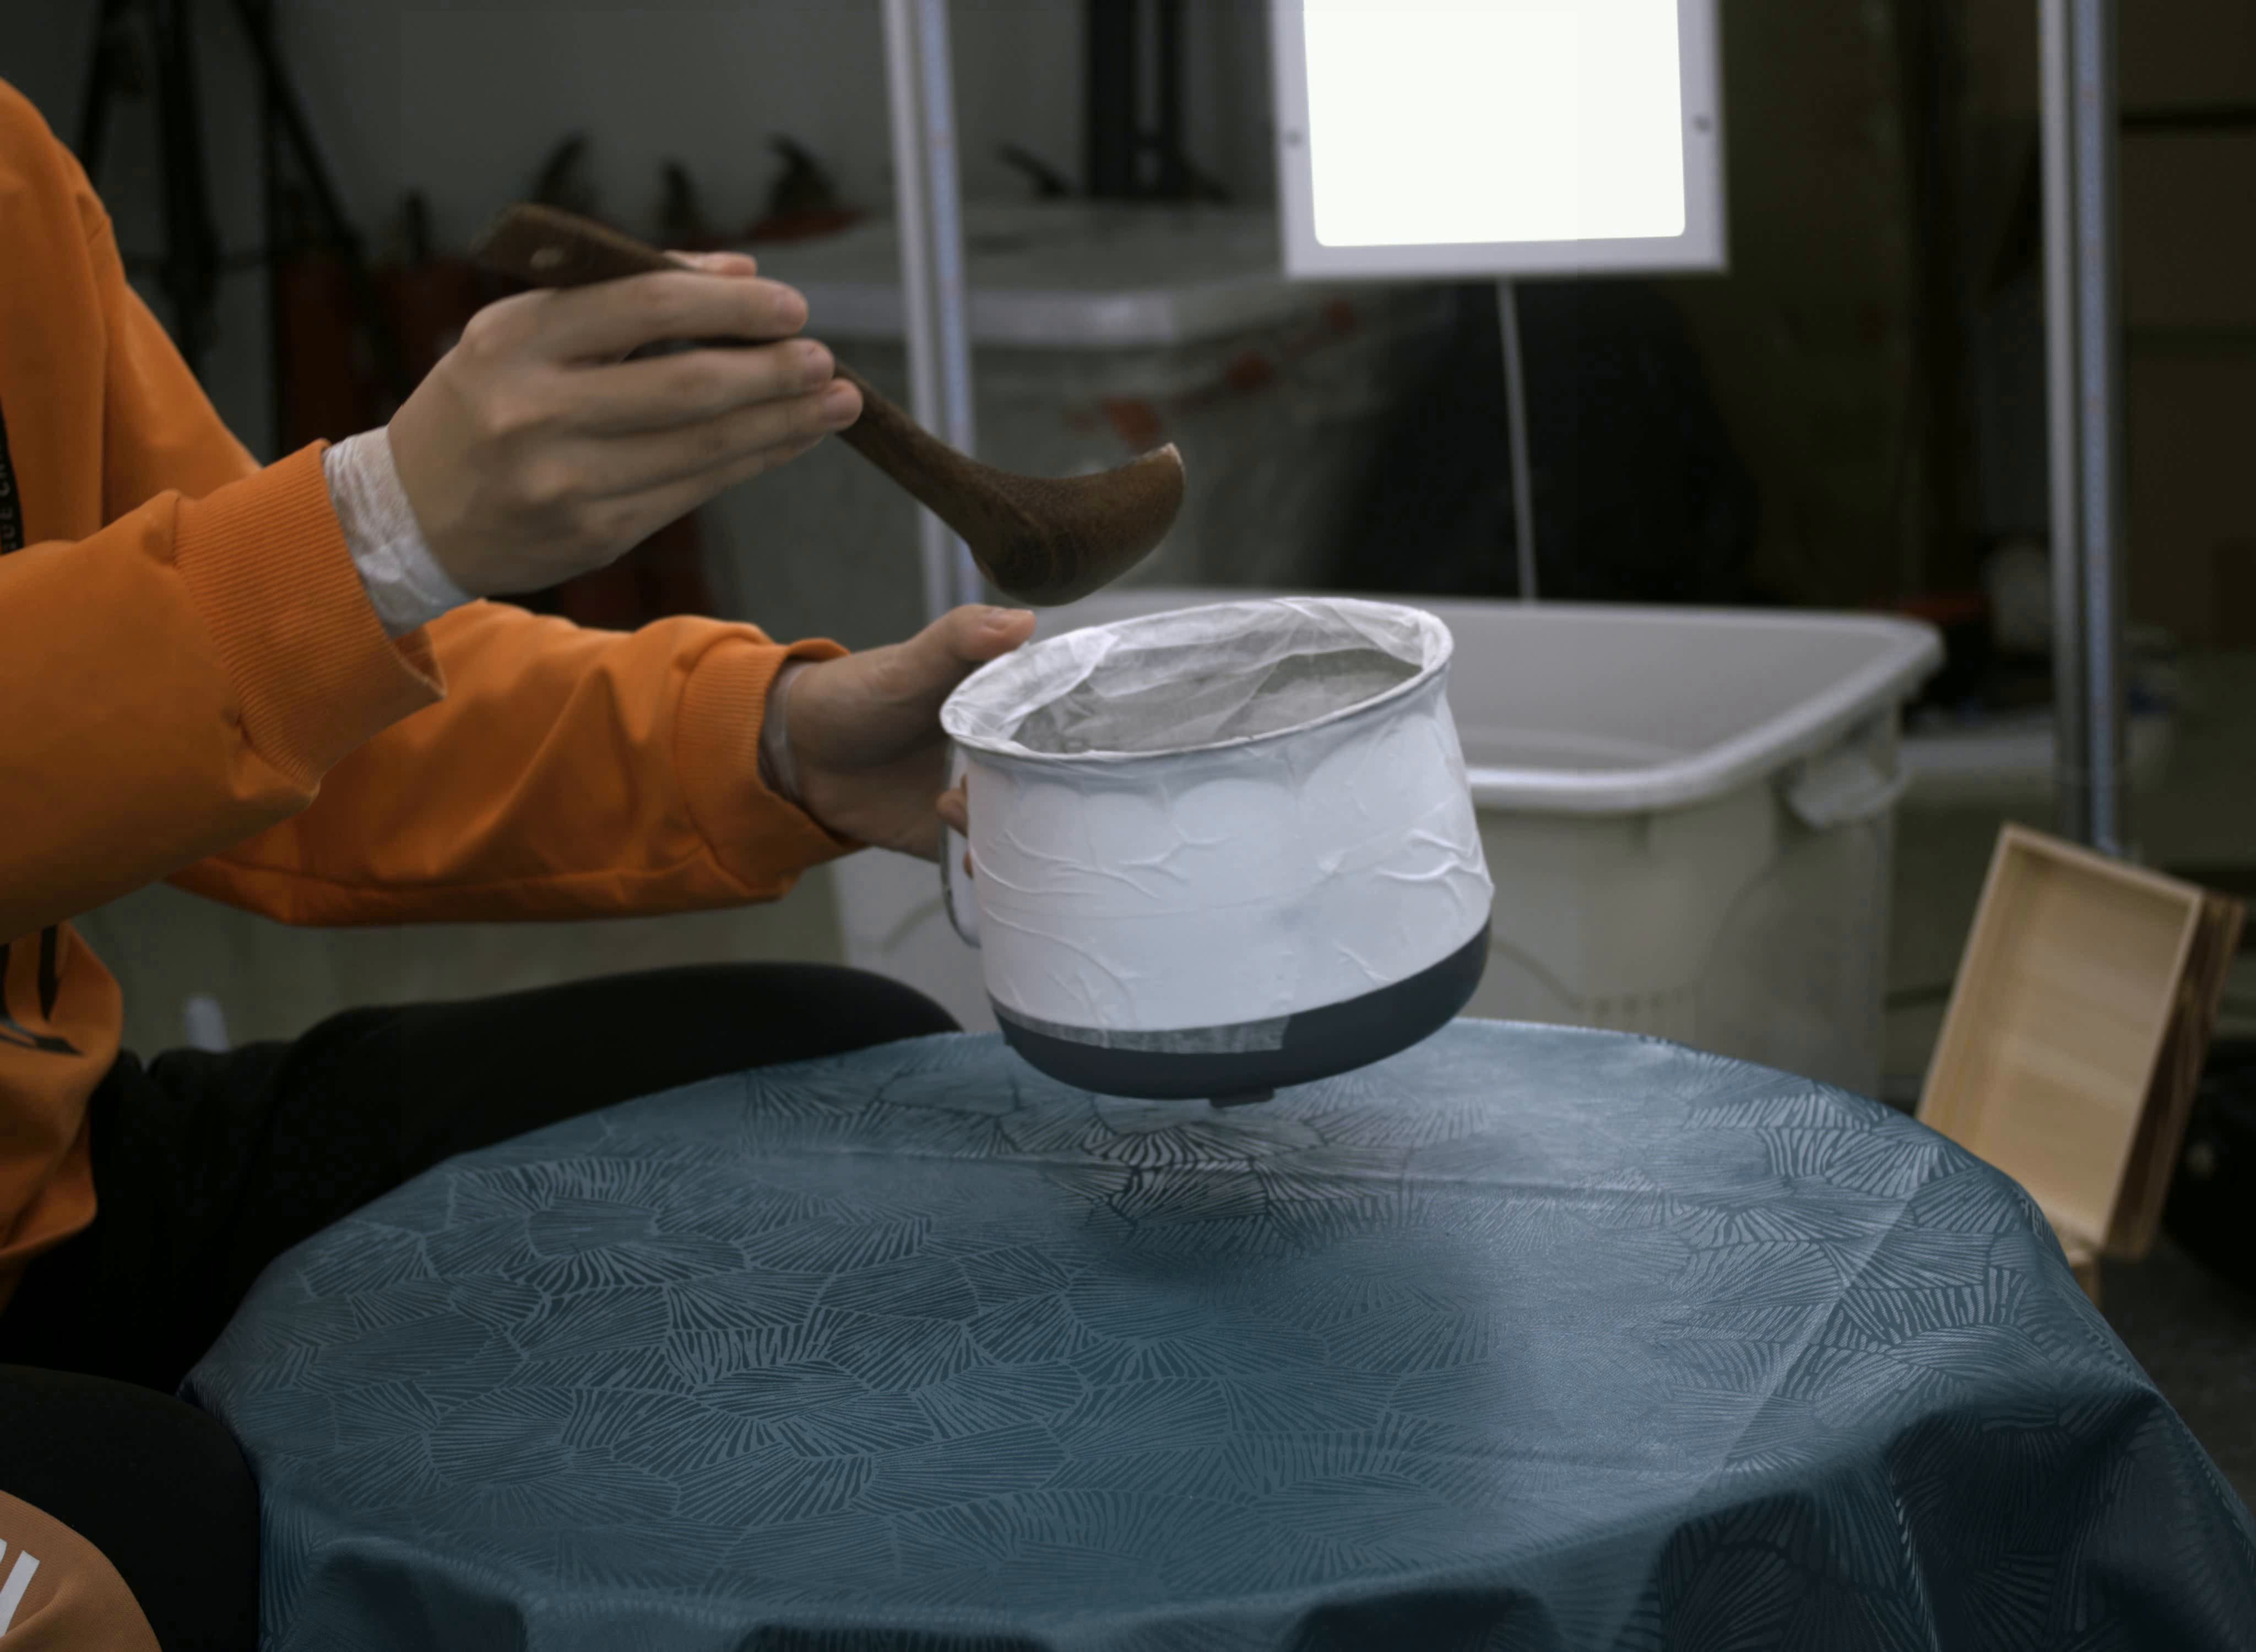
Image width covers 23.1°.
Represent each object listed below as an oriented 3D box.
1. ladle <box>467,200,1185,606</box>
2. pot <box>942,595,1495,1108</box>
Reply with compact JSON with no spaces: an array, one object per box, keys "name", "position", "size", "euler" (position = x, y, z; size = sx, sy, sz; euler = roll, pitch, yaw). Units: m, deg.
[{"name":"ladle","position":[-0.091,-0.143,1.693],"size":[0.269,0.077,0.071],"euler":[29,37,-33]},{"name":"pot","position":[0.015,0.005,1.904],"size":[0.174,0.137,0.239],"euler":[-23,21,-38]}]
